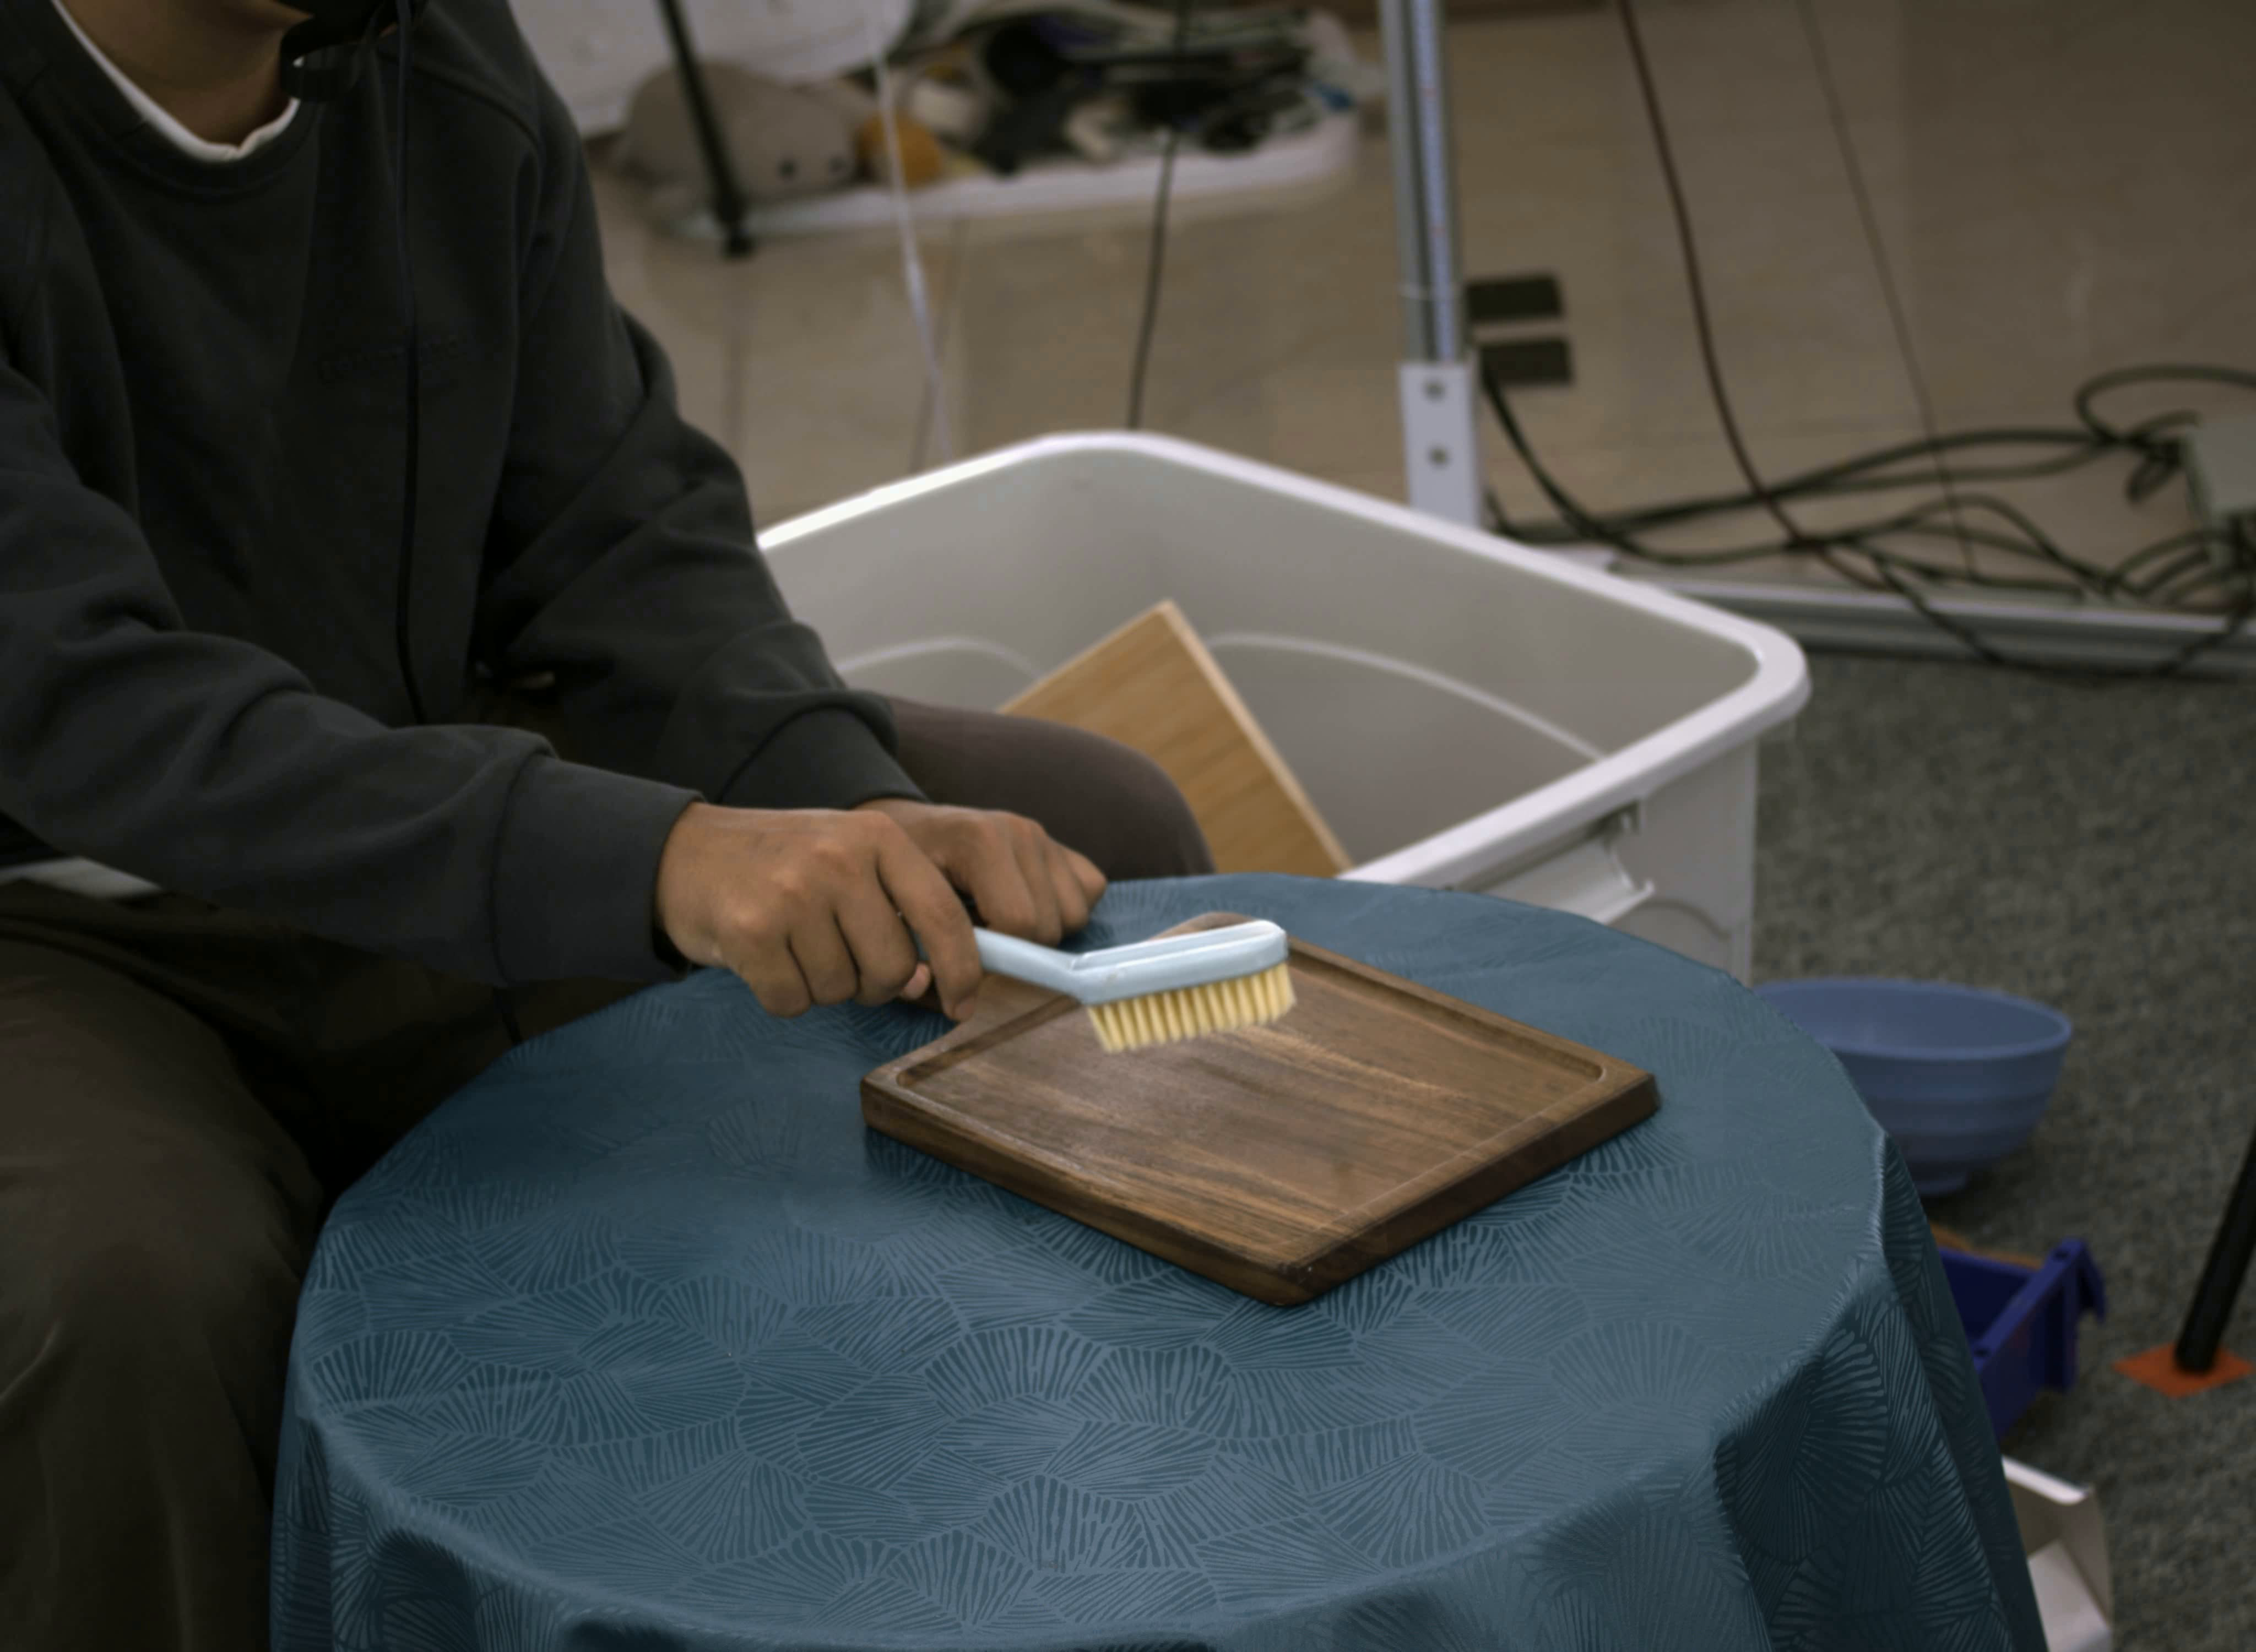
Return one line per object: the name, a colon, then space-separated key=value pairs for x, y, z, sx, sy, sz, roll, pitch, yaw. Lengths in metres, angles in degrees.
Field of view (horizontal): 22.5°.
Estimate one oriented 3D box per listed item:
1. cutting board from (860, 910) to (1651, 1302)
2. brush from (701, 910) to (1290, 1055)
cutting board: x=0.015 y=0.091 z=2.224 sx=0.199 sy=0.023 sz=0.349 roll=-25 pitch=30 yaw=-35
brush: x=-0.051 y=0.058 z=2.158 sx=0.228 sy=0.050 sz=0.037 roll=2 pitch=19 yaw=10
